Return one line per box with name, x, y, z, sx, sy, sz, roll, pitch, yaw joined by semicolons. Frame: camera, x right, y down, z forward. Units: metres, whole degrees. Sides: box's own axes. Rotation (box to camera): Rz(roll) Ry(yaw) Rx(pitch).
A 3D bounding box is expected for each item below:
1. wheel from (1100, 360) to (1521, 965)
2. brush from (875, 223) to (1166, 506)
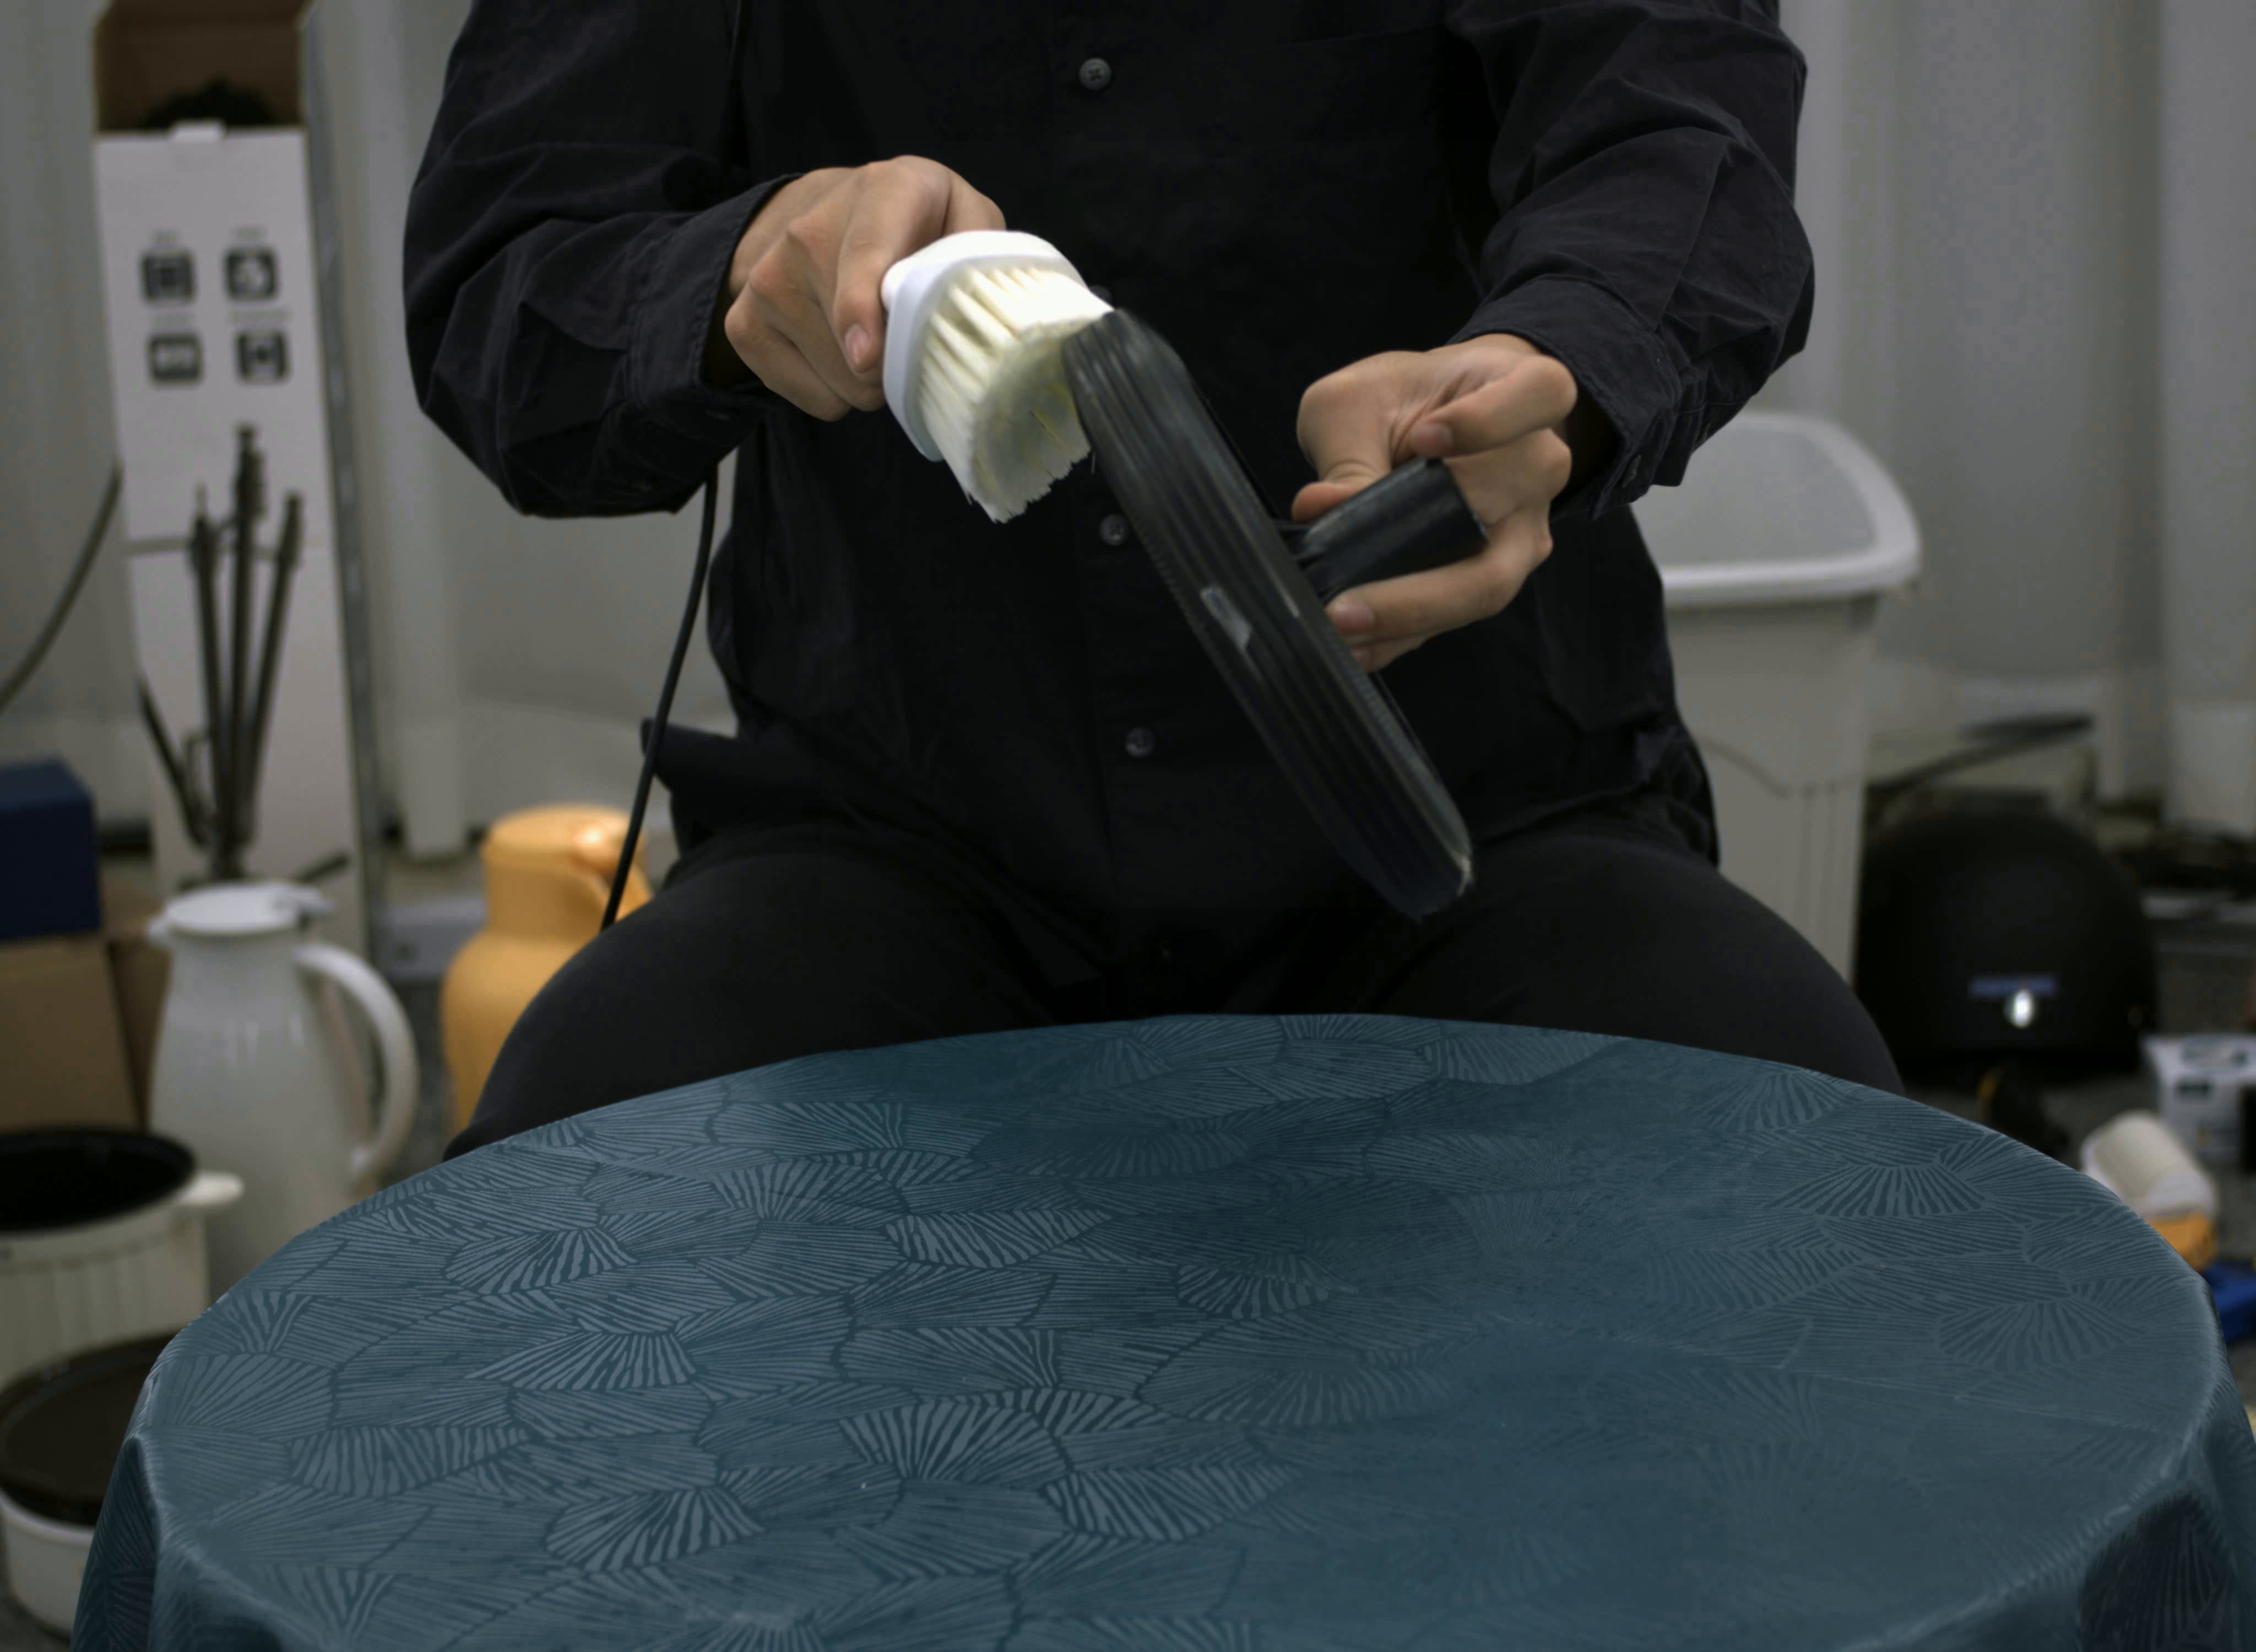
wheel;0.067;-0.057;1.512;0.079;0.185;0.192;-32;29;3
brush;-0.032;-0.139;1.661;0.083;0.085;0.325;-10;2;-2
